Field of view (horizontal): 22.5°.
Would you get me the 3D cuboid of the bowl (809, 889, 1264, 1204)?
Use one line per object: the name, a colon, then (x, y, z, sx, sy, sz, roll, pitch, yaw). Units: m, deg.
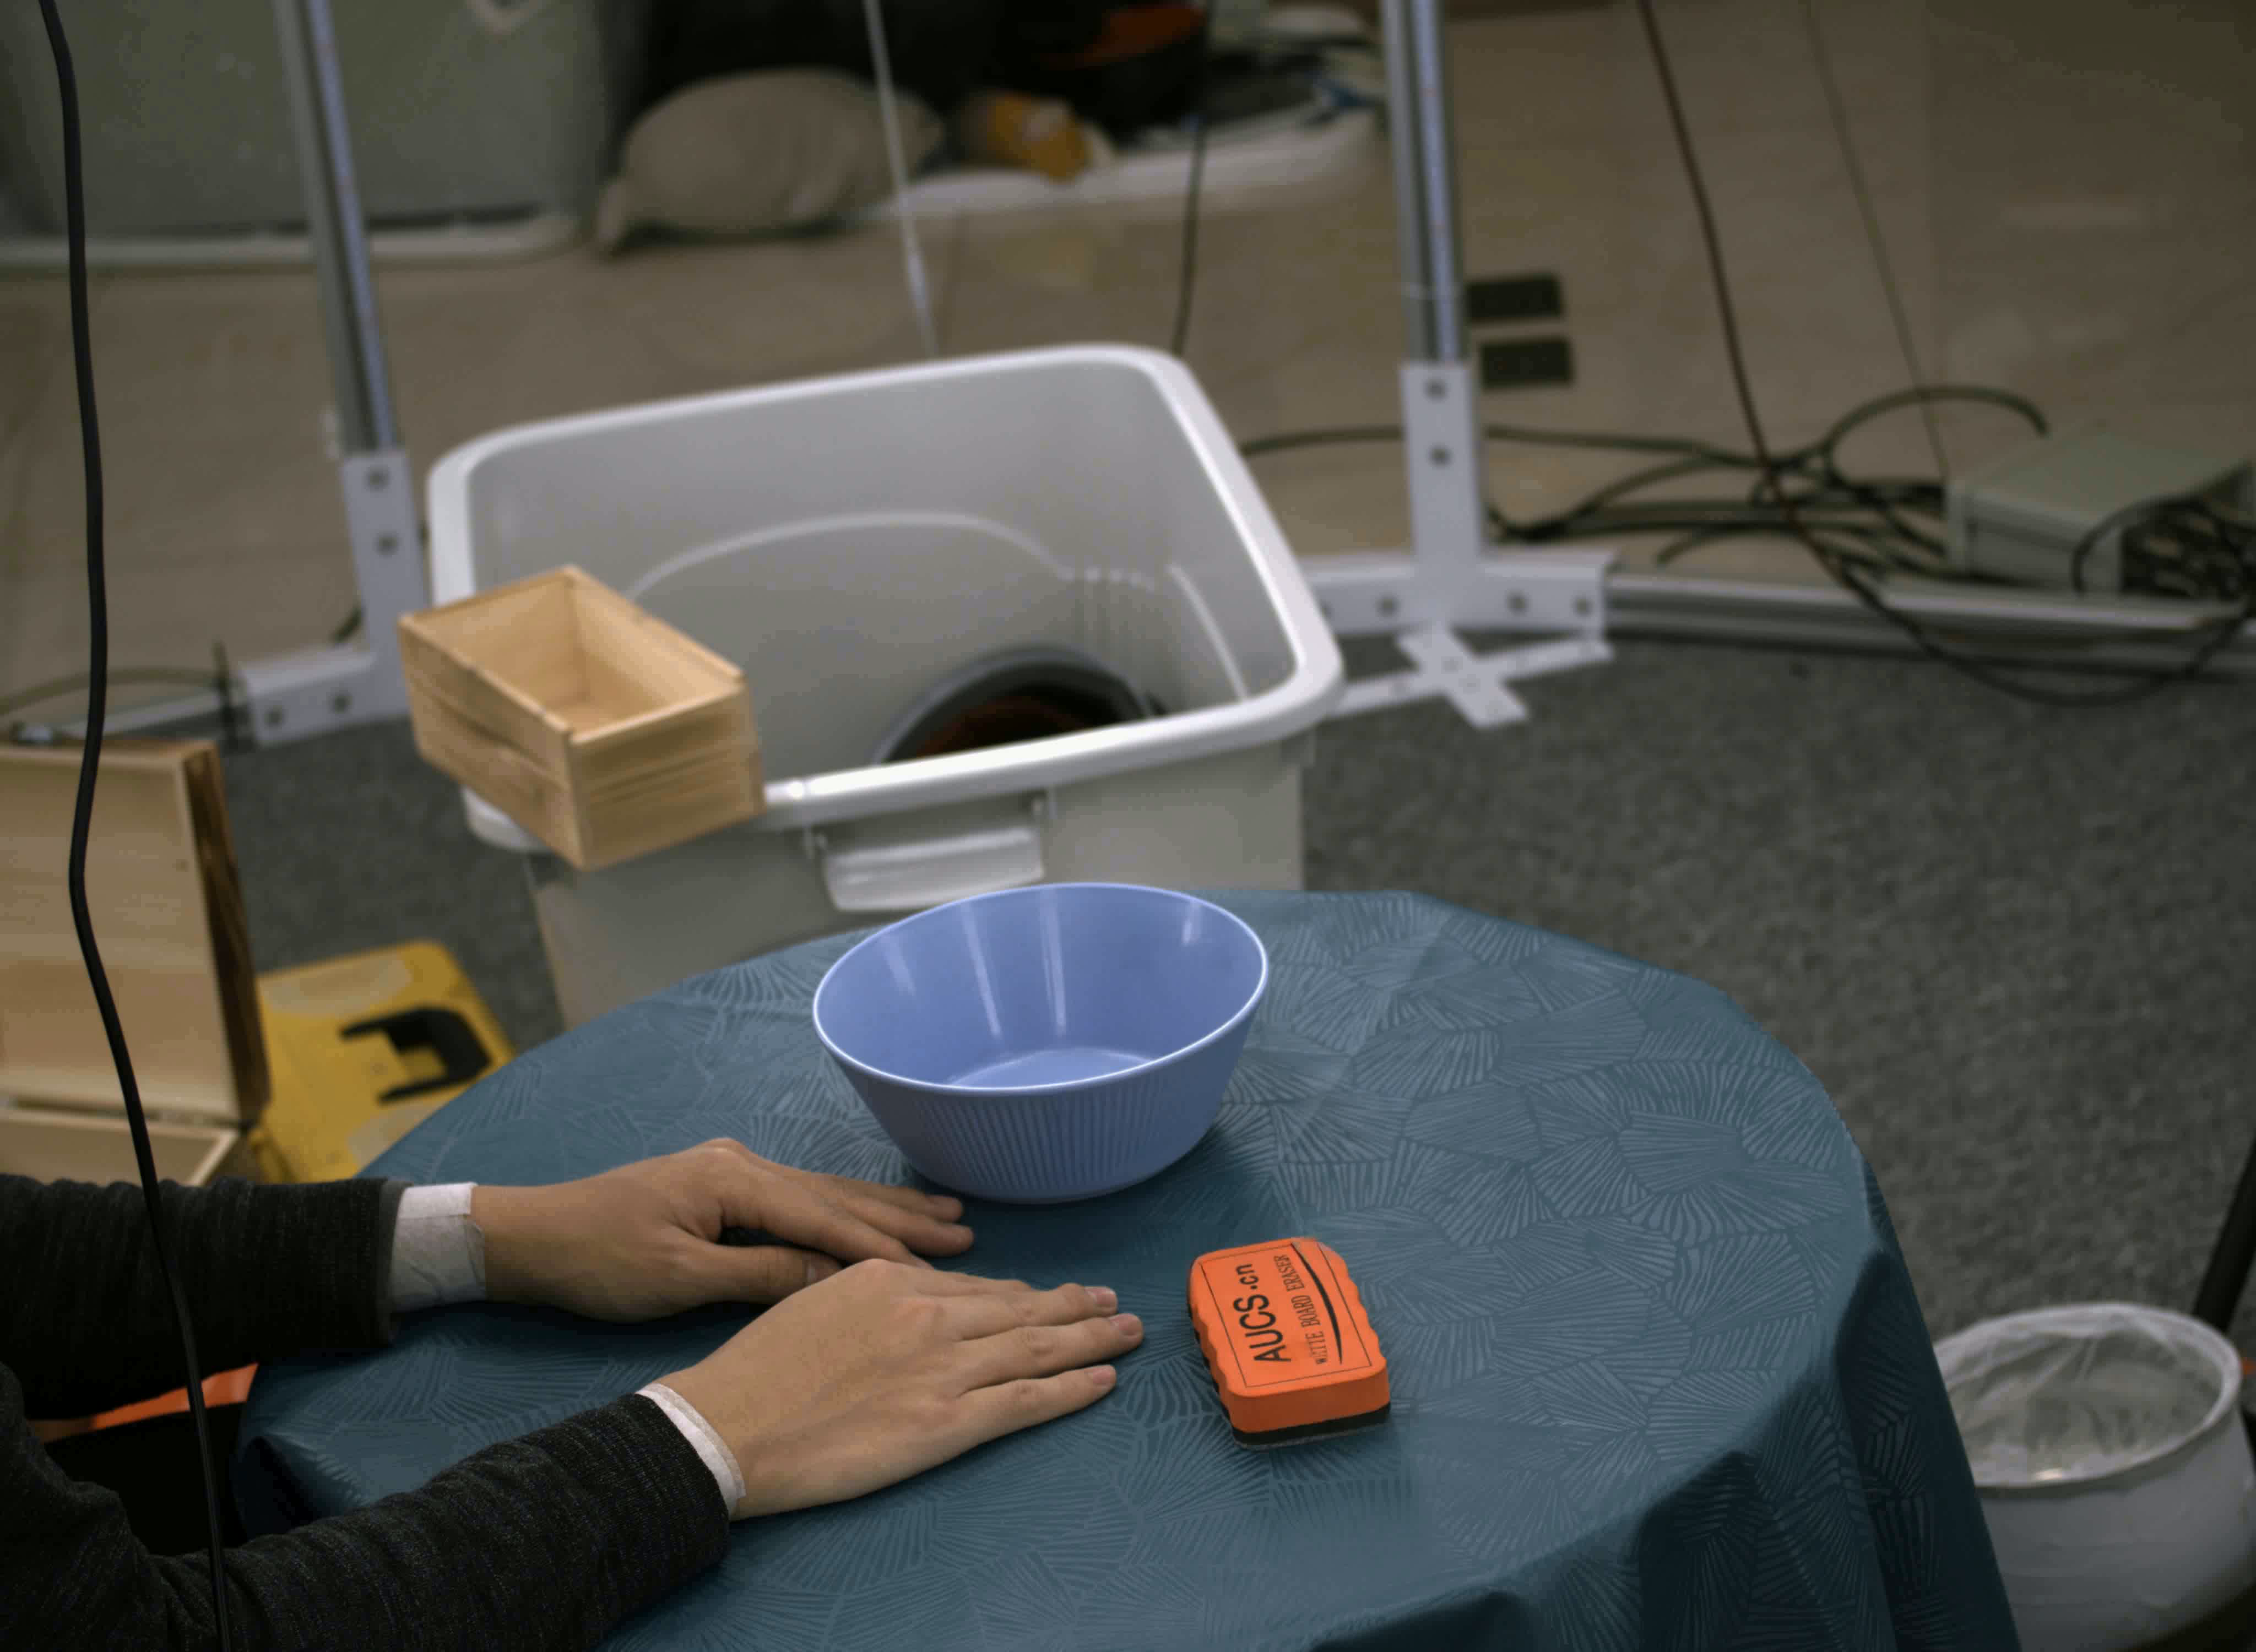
bowl: (-0.032, 0.090, 2.178, 0.176, 0.071, 0.173, -5, 25, 3)

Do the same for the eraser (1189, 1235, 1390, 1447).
eraser: (0.056, 0.182, 2.013, 0.059, 0.023, 0.106, -6, 26, -6)
